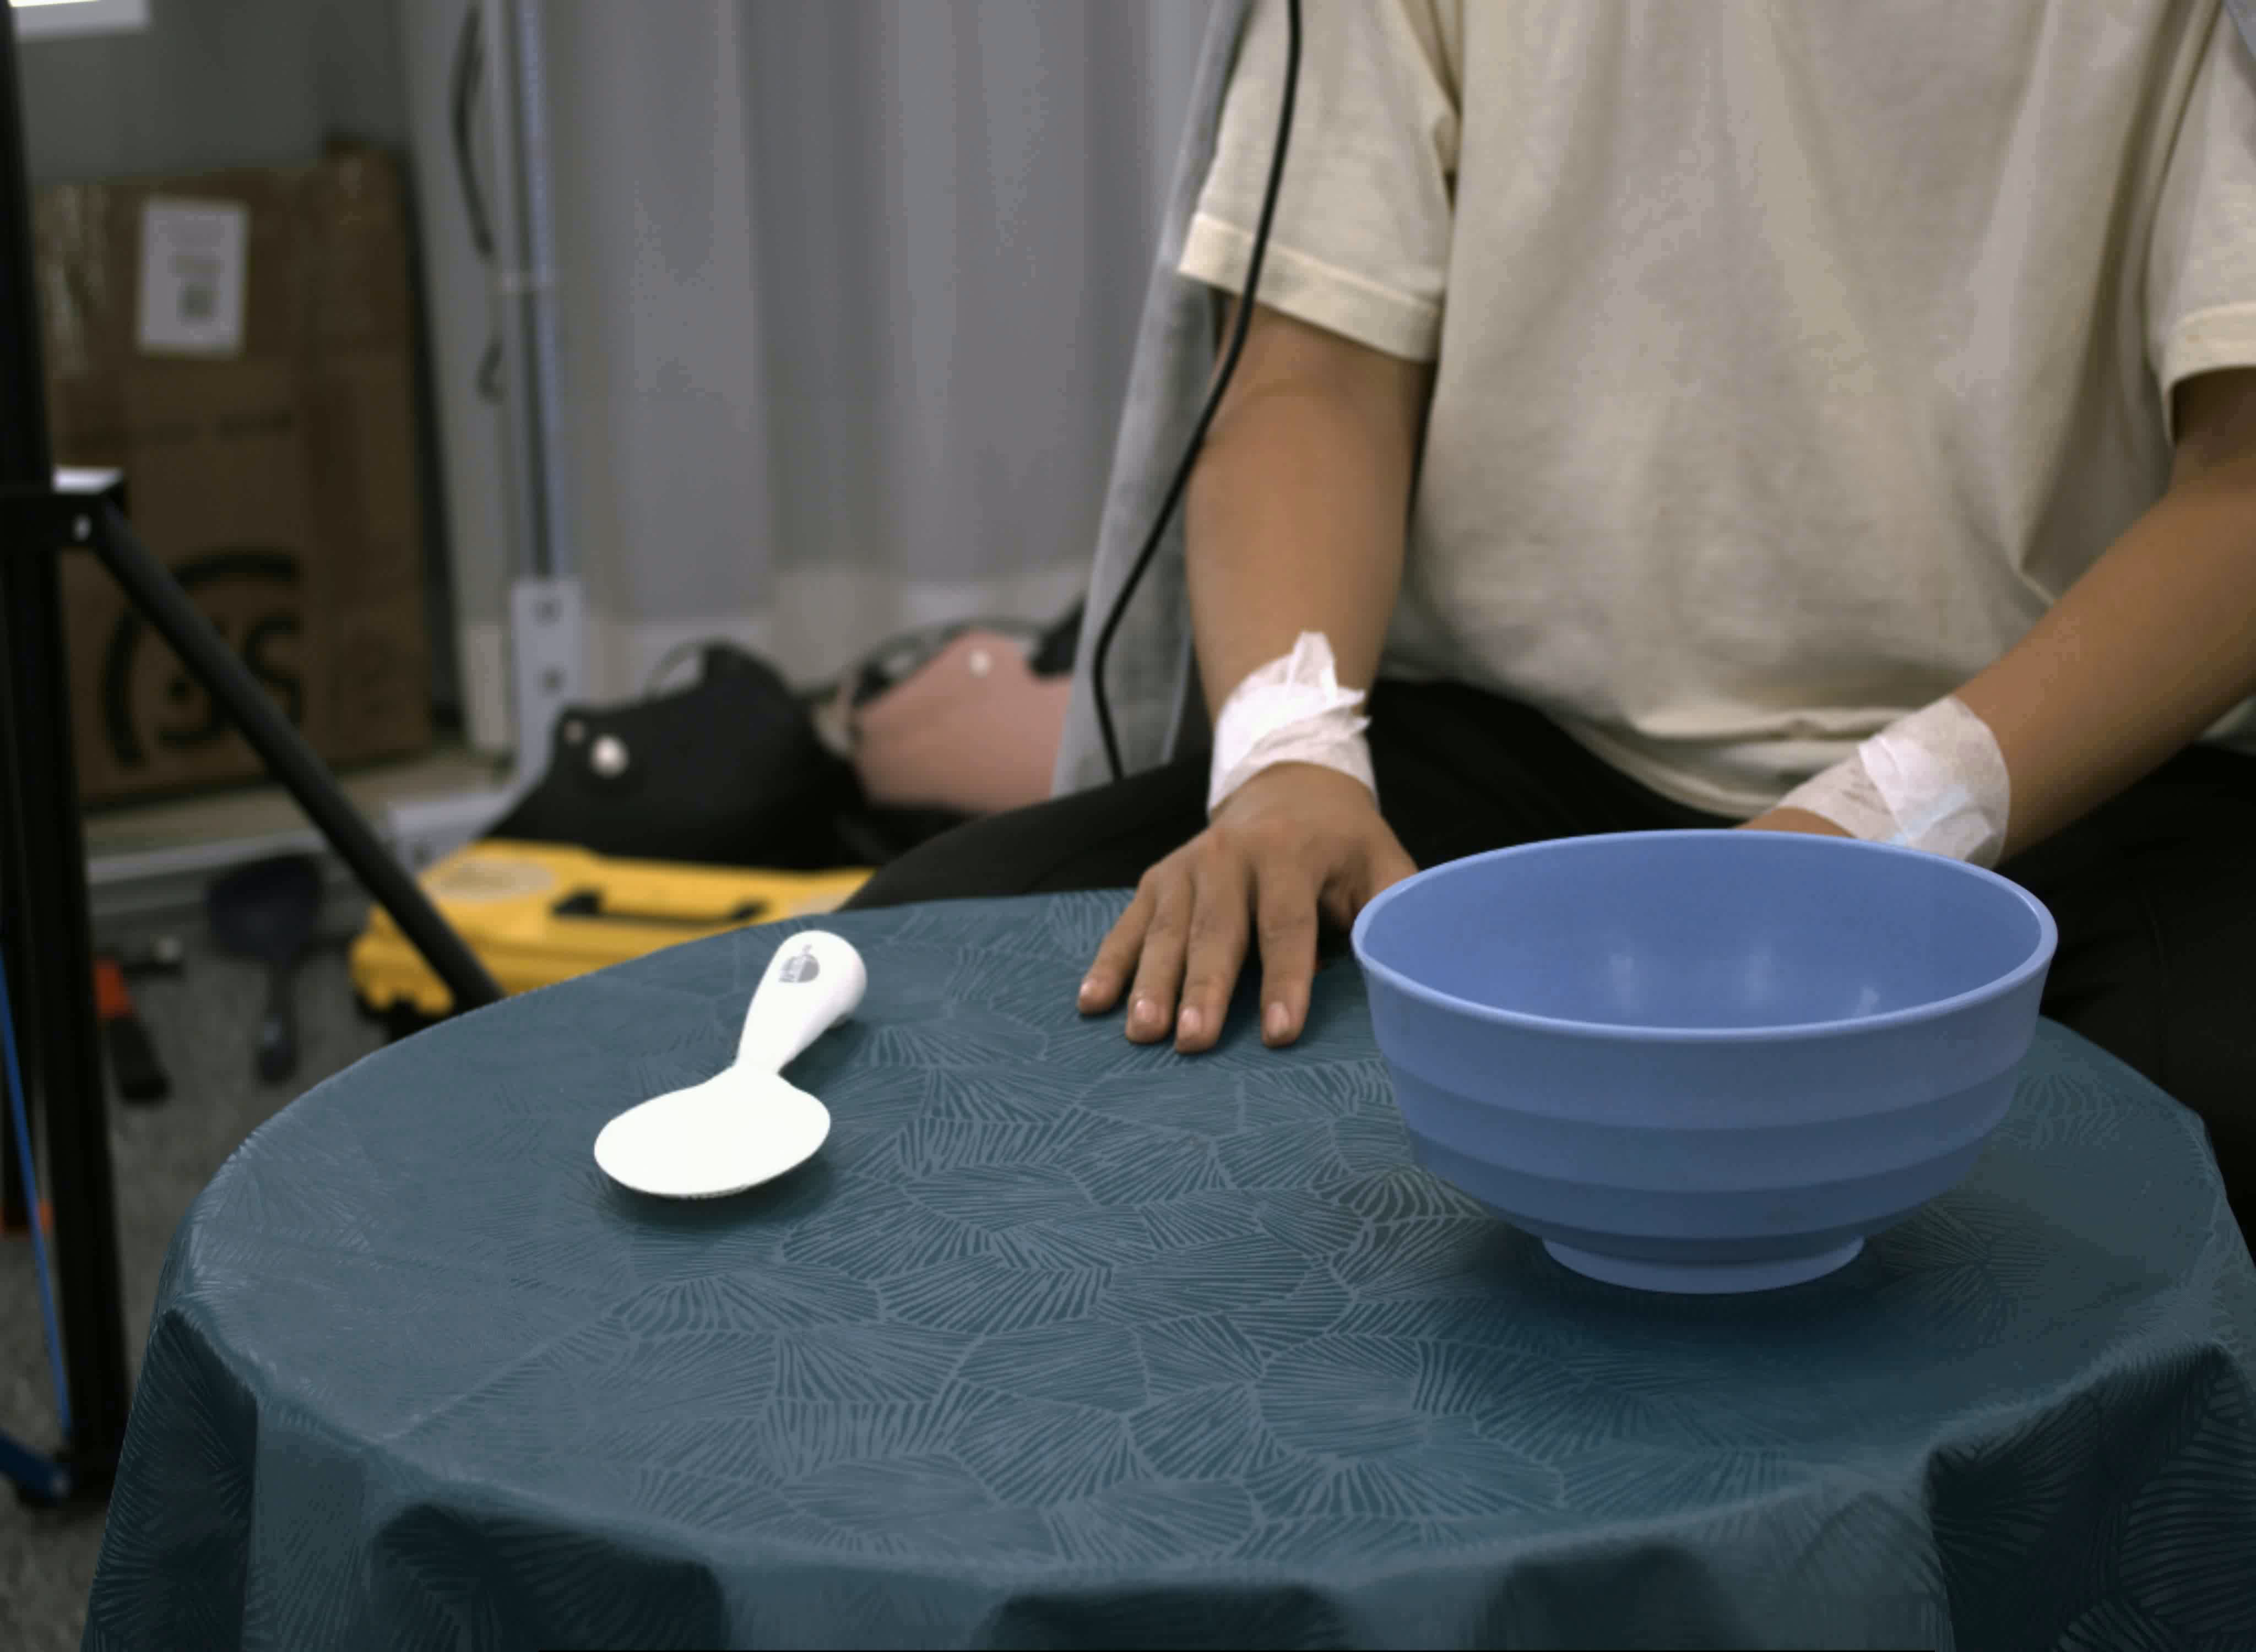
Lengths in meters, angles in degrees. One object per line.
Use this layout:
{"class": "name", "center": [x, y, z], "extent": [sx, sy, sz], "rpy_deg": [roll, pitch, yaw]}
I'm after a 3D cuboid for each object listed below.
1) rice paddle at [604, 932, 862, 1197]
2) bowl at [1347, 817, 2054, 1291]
{"class": "rice paddle", "center": [-0.113, 0.076, 1.634], "extent": [0.069, 0.029, 0.205], "rpy_deg": [-2, 15, 8]}
{"class": "bowl", "center": [0.161, 0.070, 1.483], "extent": [0.195, 0.095, 0.197], "rpy_deg": [-4, 16, 0]}
